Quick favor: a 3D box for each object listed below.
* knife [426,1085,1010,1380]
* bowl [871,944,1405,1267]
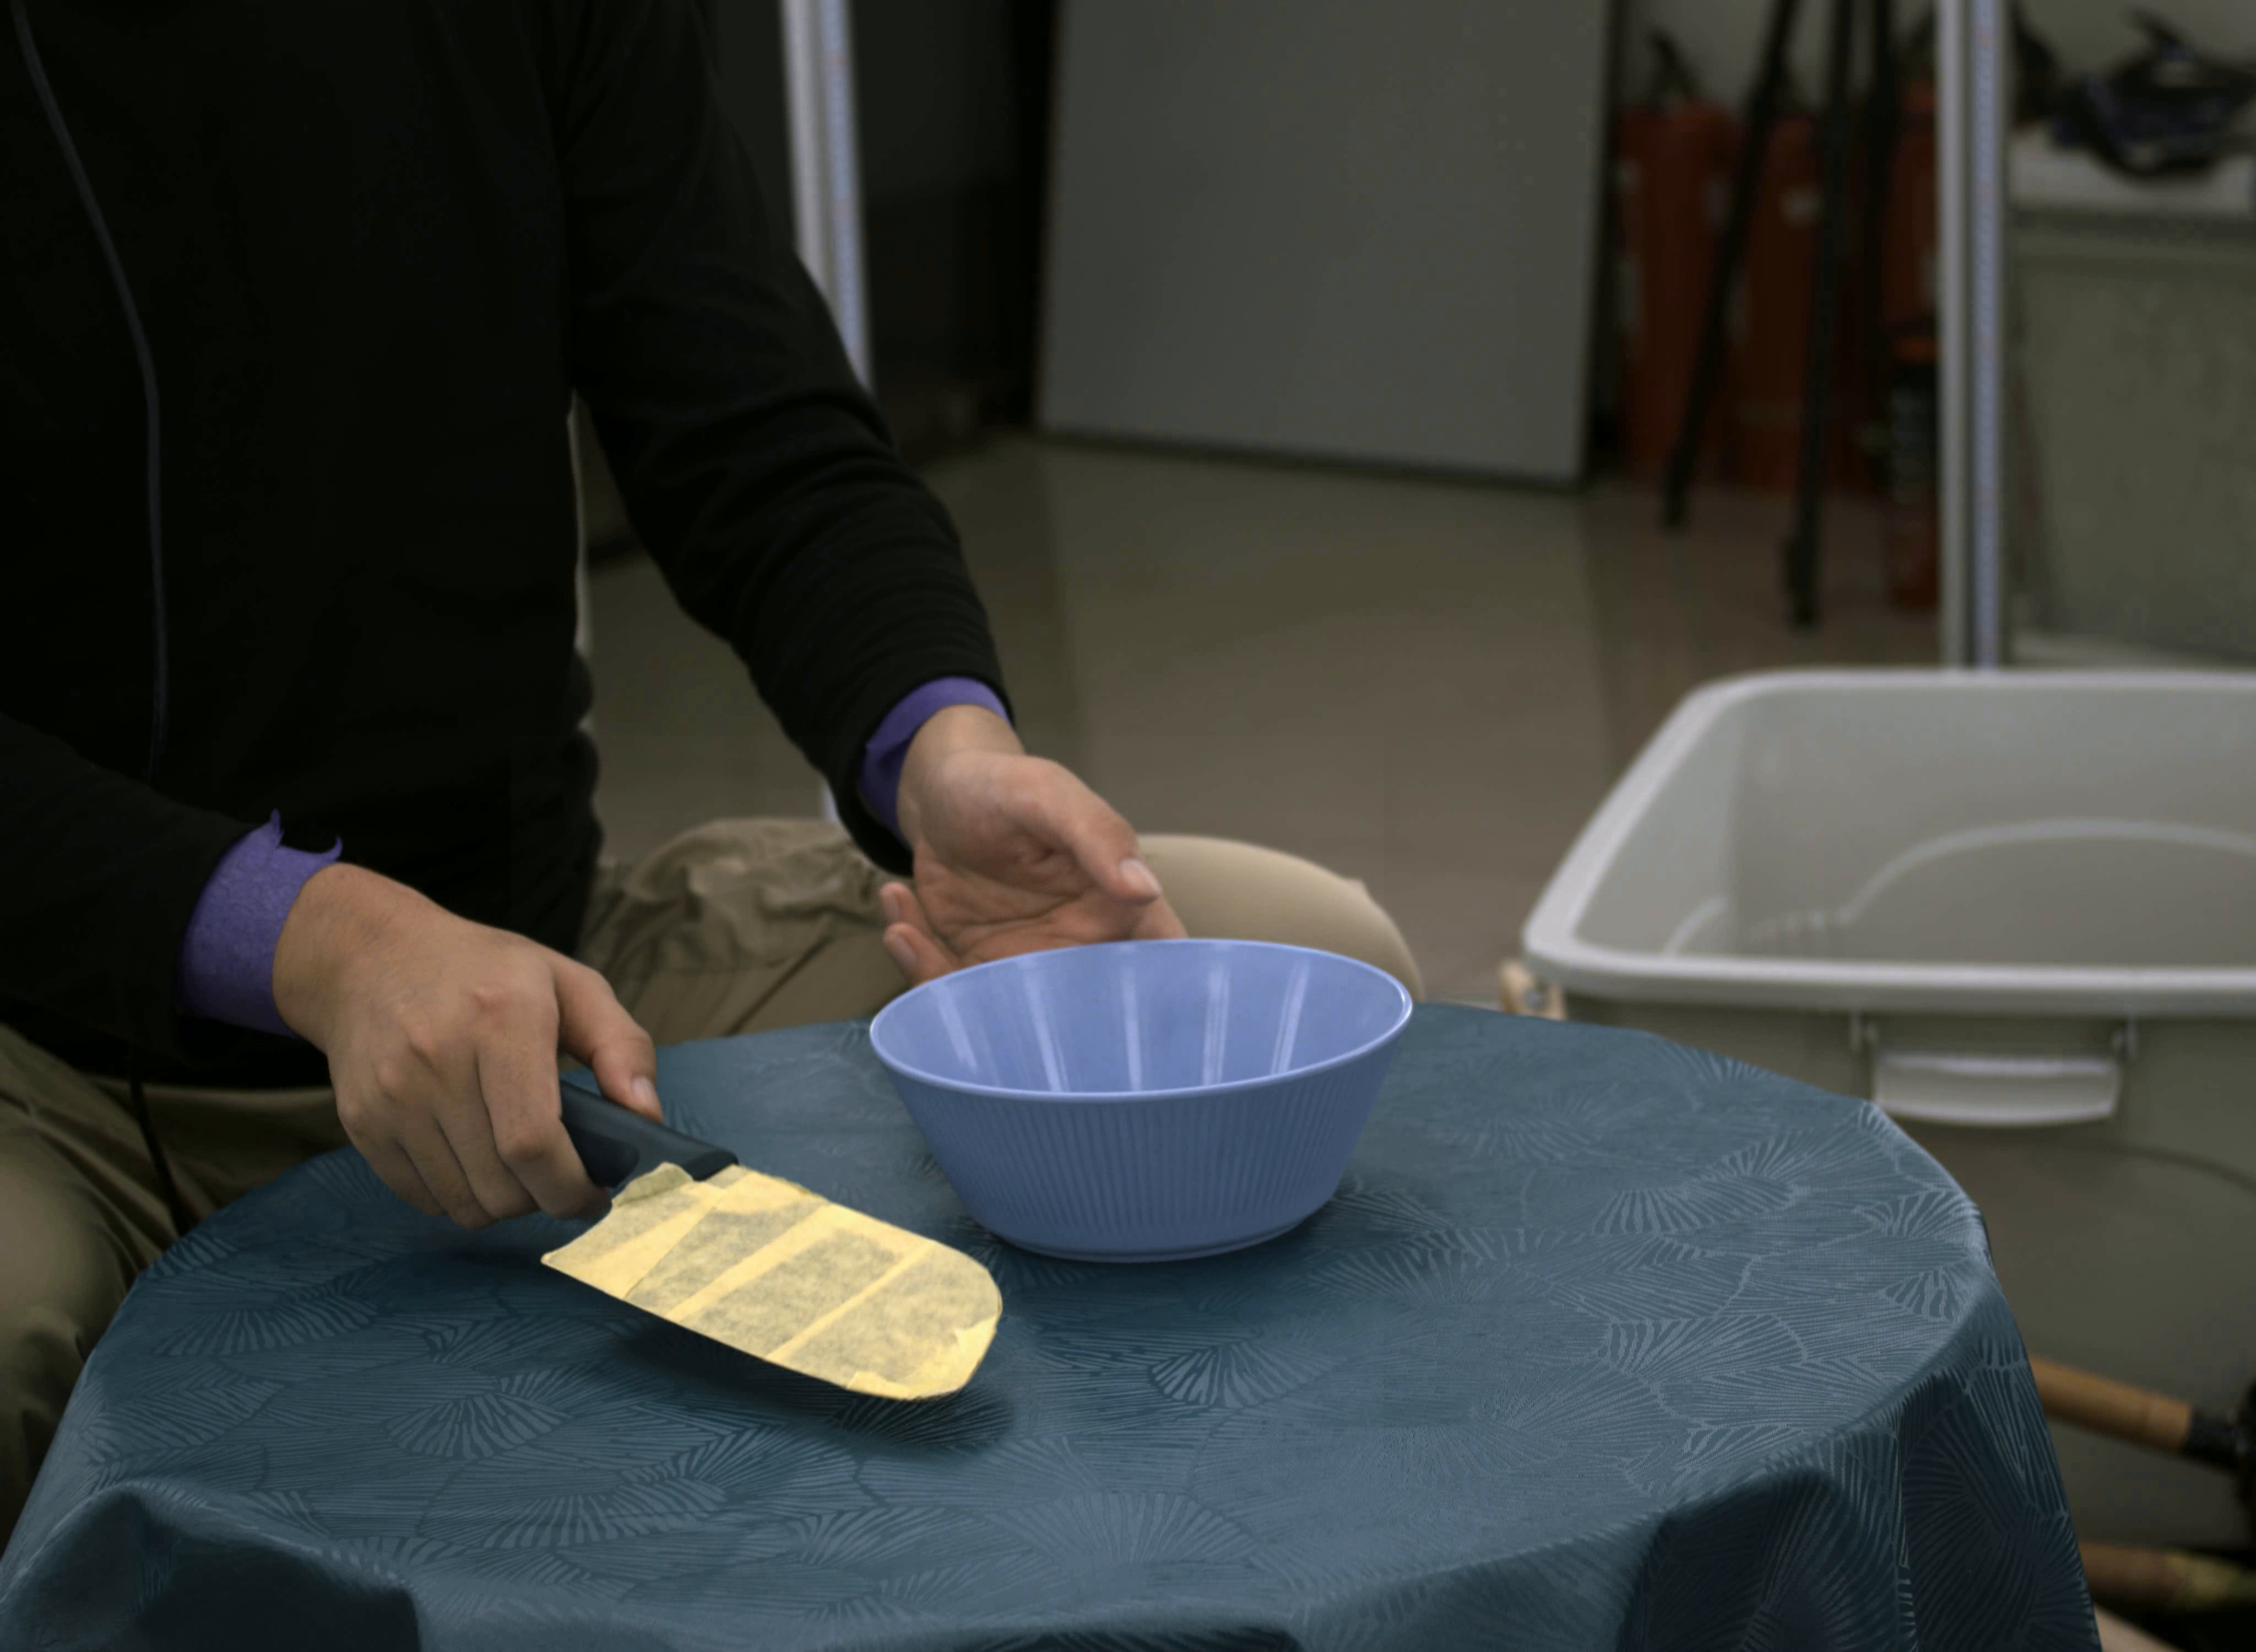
[{"bbox_3d":[-0.137,0.125,1.663,0.079,0.027,0.292,-28,28,-33],"label":"knife"},{"bbox_3d":[0.005,0.093,1.745,0.174,0.071,0.176,-5,14,0],"label":"bowl"}]
